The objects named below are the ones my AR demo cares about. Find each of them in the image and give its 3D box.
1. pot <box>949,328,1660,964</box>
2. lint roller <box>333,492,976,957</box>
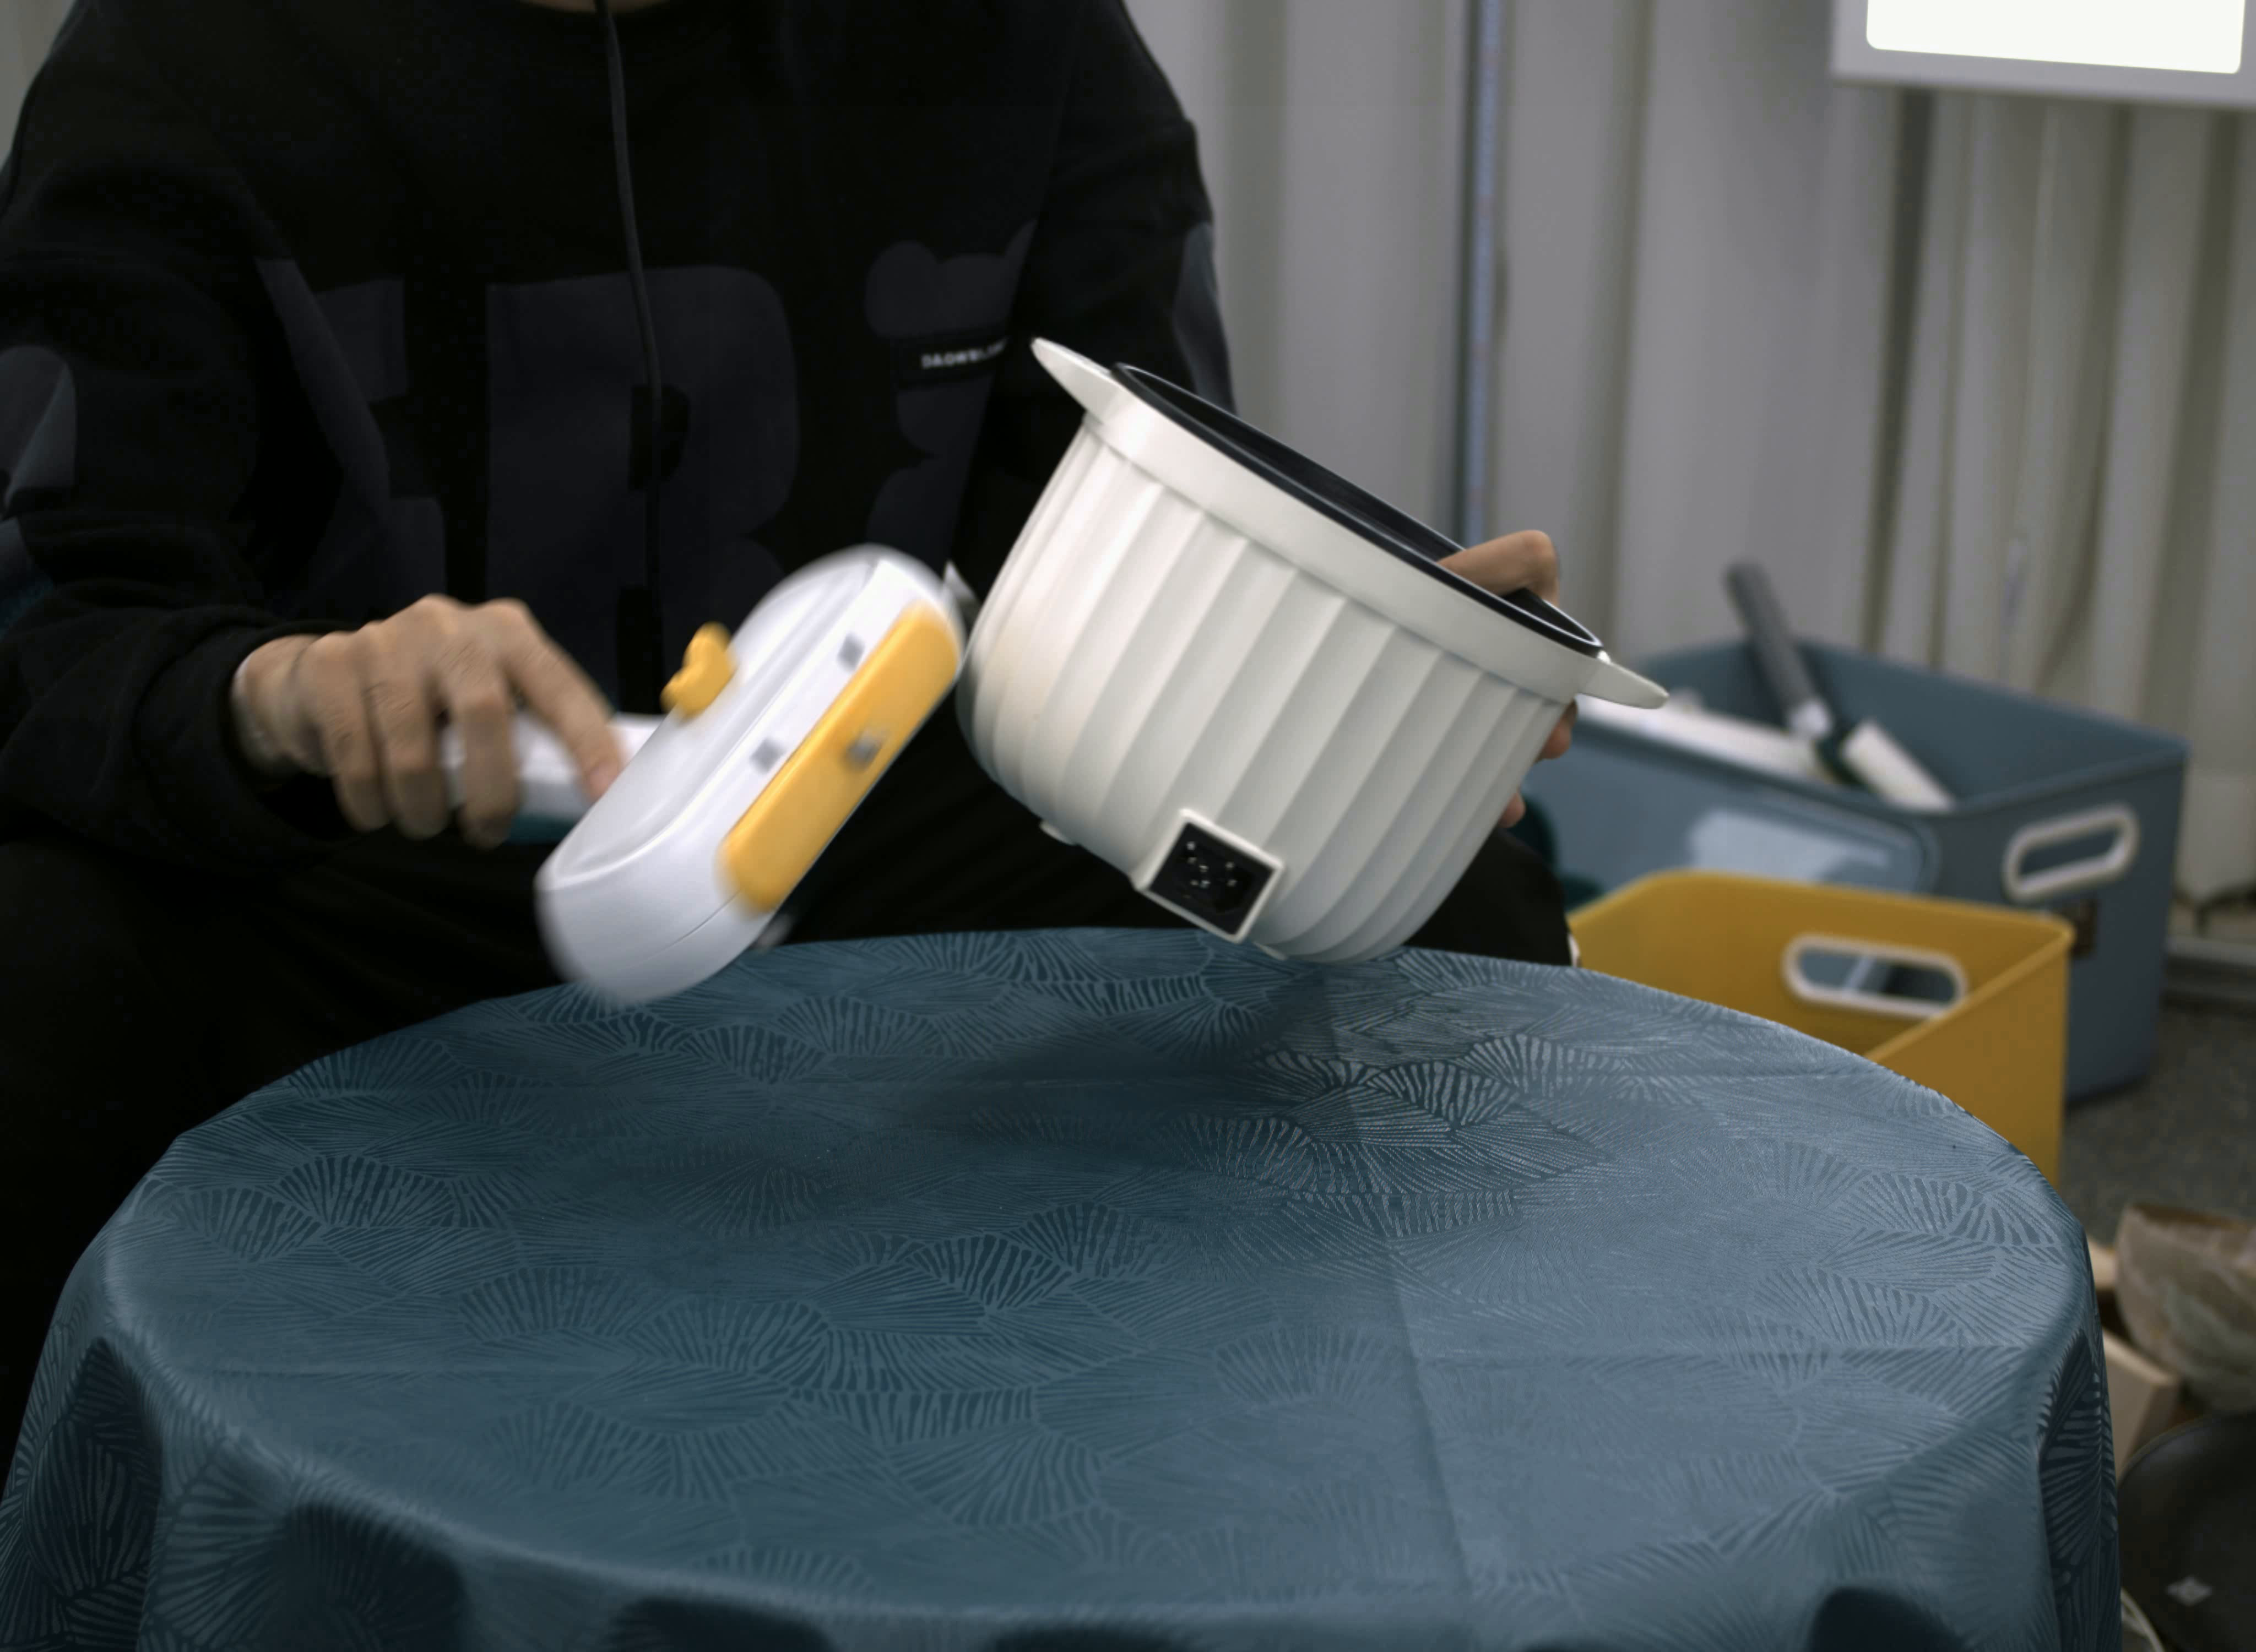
[{"bbox_3d":[0.037,-0.048,1.690,0.241,0.143,0.189,30,10,-13],"label":"pot"},{"bbox_3d":[-0.158,-0.028,1.641,0.191,0.075,0.192,-11,35,28],"label":"lint roller"}]
